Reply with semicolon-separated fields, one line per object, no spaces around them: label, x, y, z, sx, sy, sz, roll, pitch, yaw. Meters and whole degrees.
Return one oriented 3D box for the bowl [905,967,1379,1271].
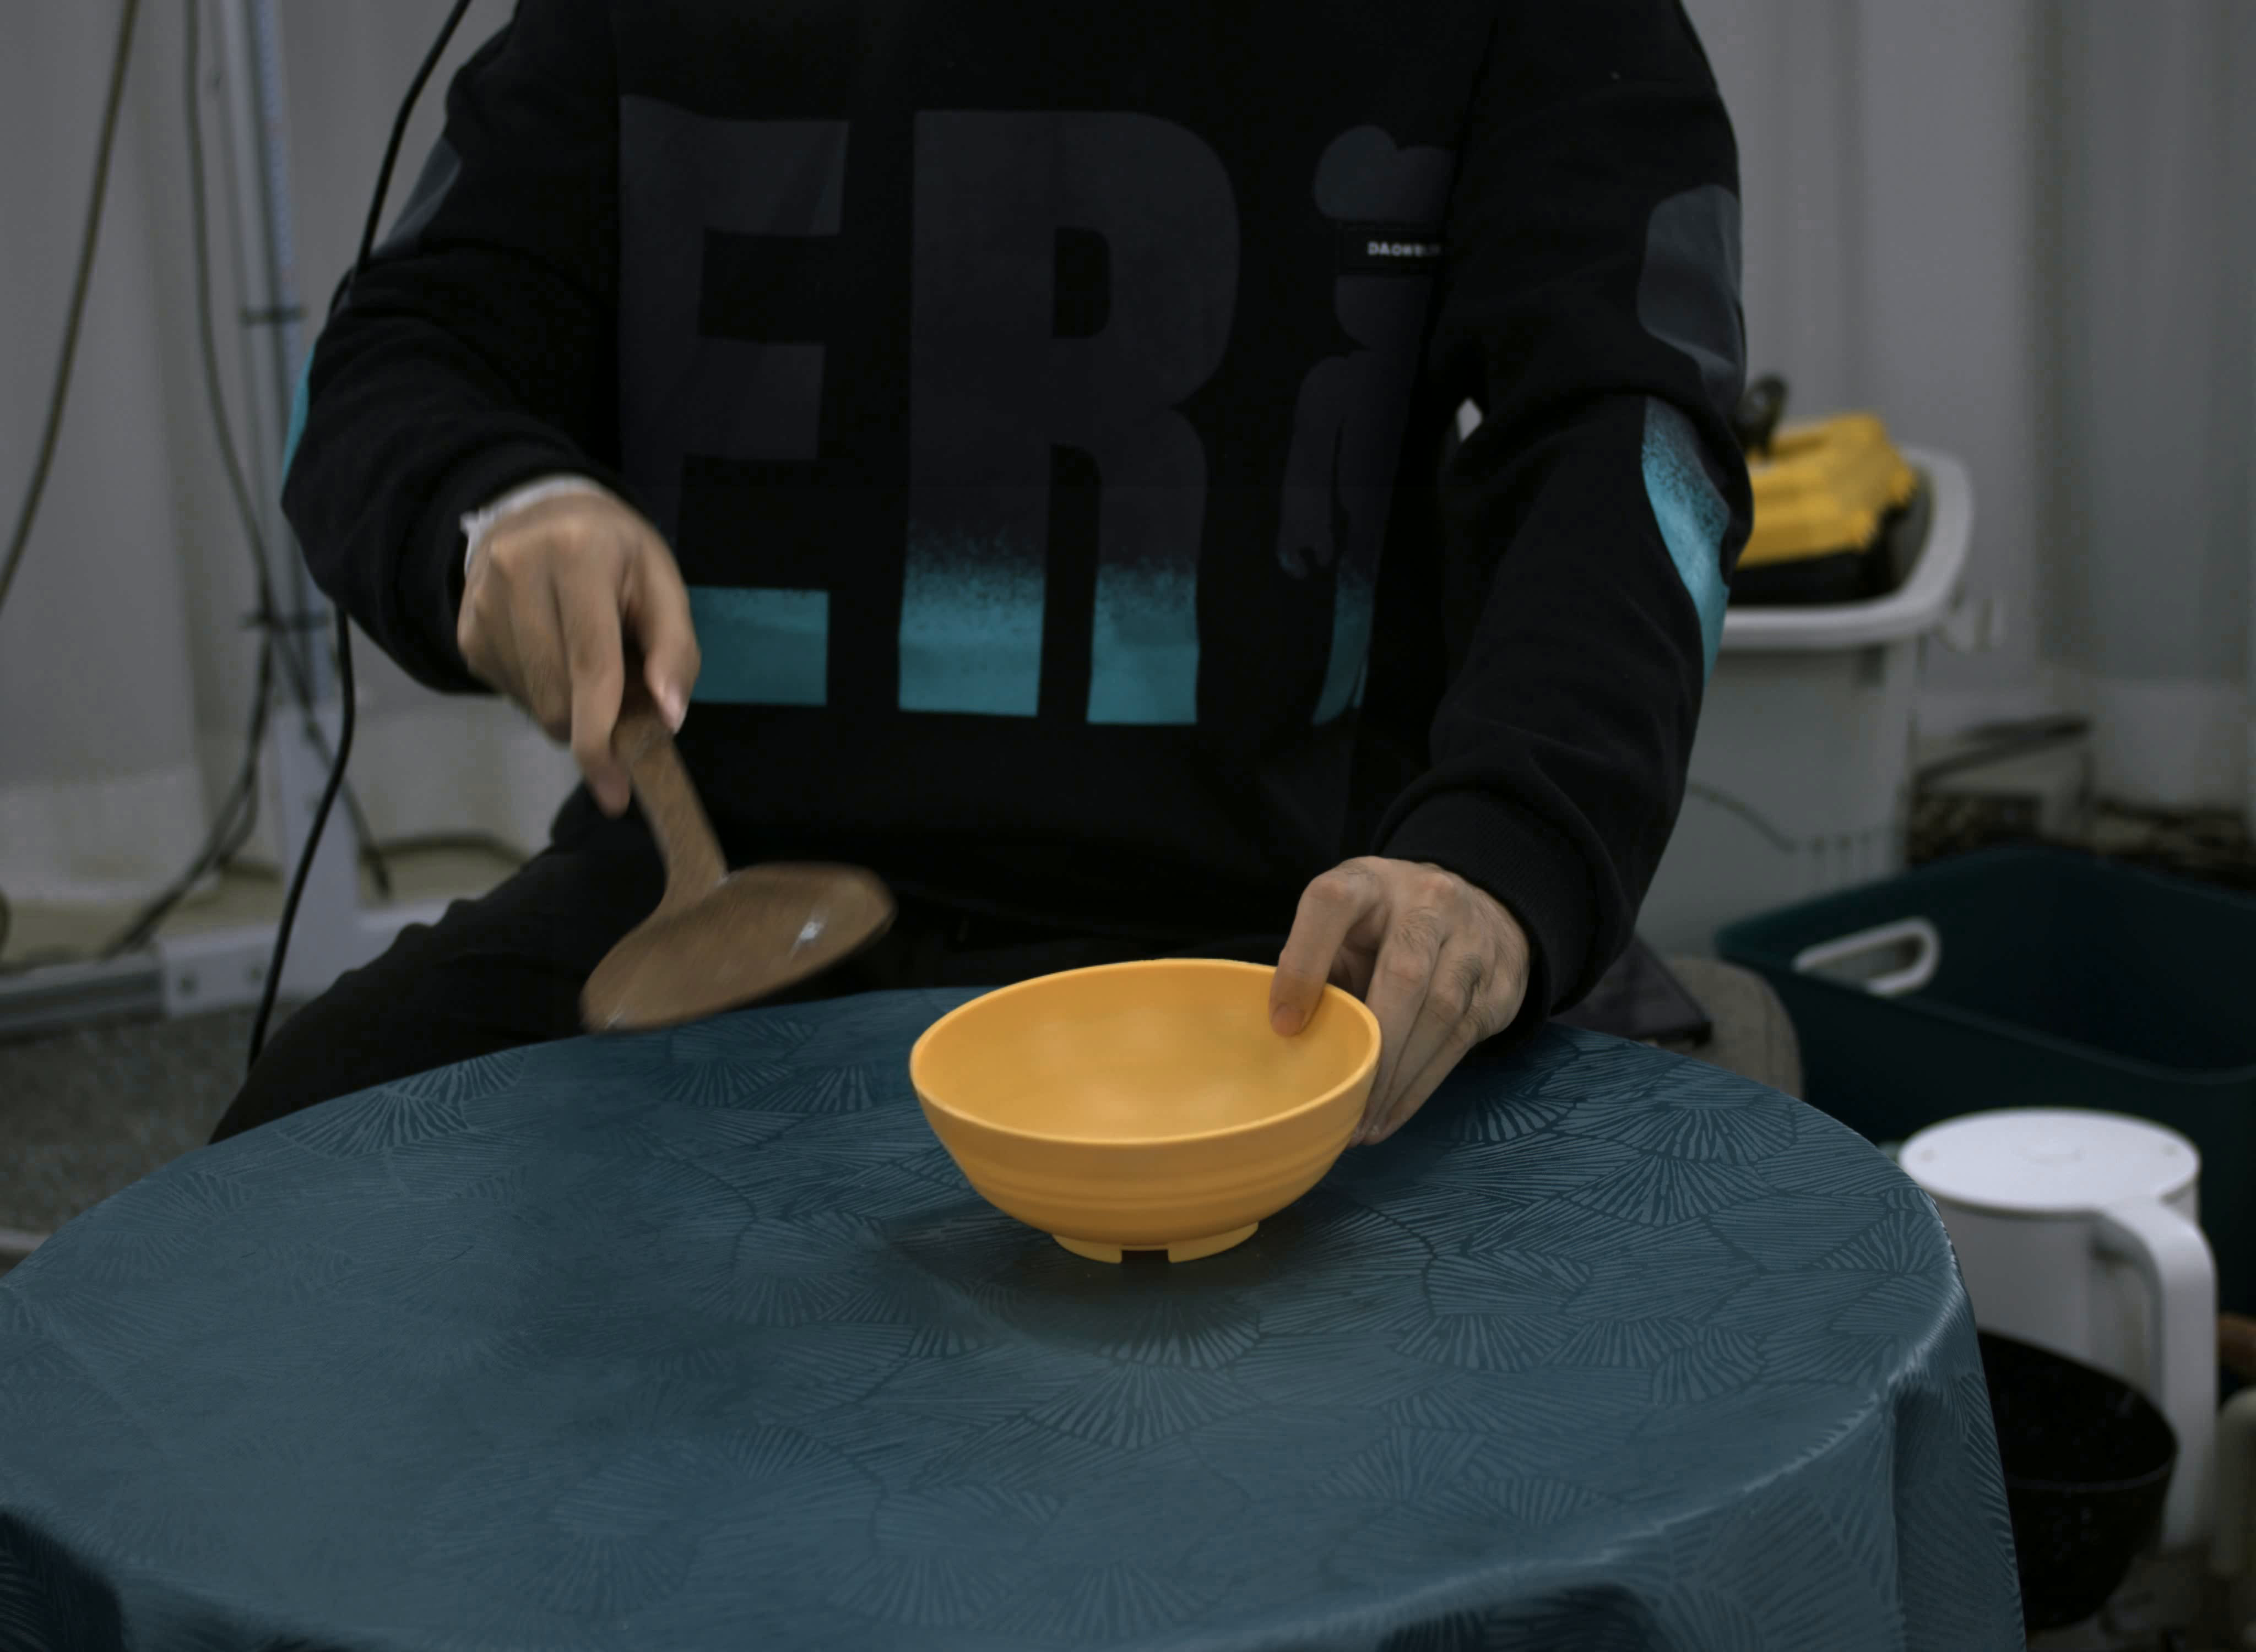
bowl;0.005;0.096;1.668;0.145;0.060;0.146;-1;19;0

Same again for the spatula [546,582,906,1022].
spatula;-0.146;-0.018;1.730;0.096;0.015;0.390;-22;23;-6
